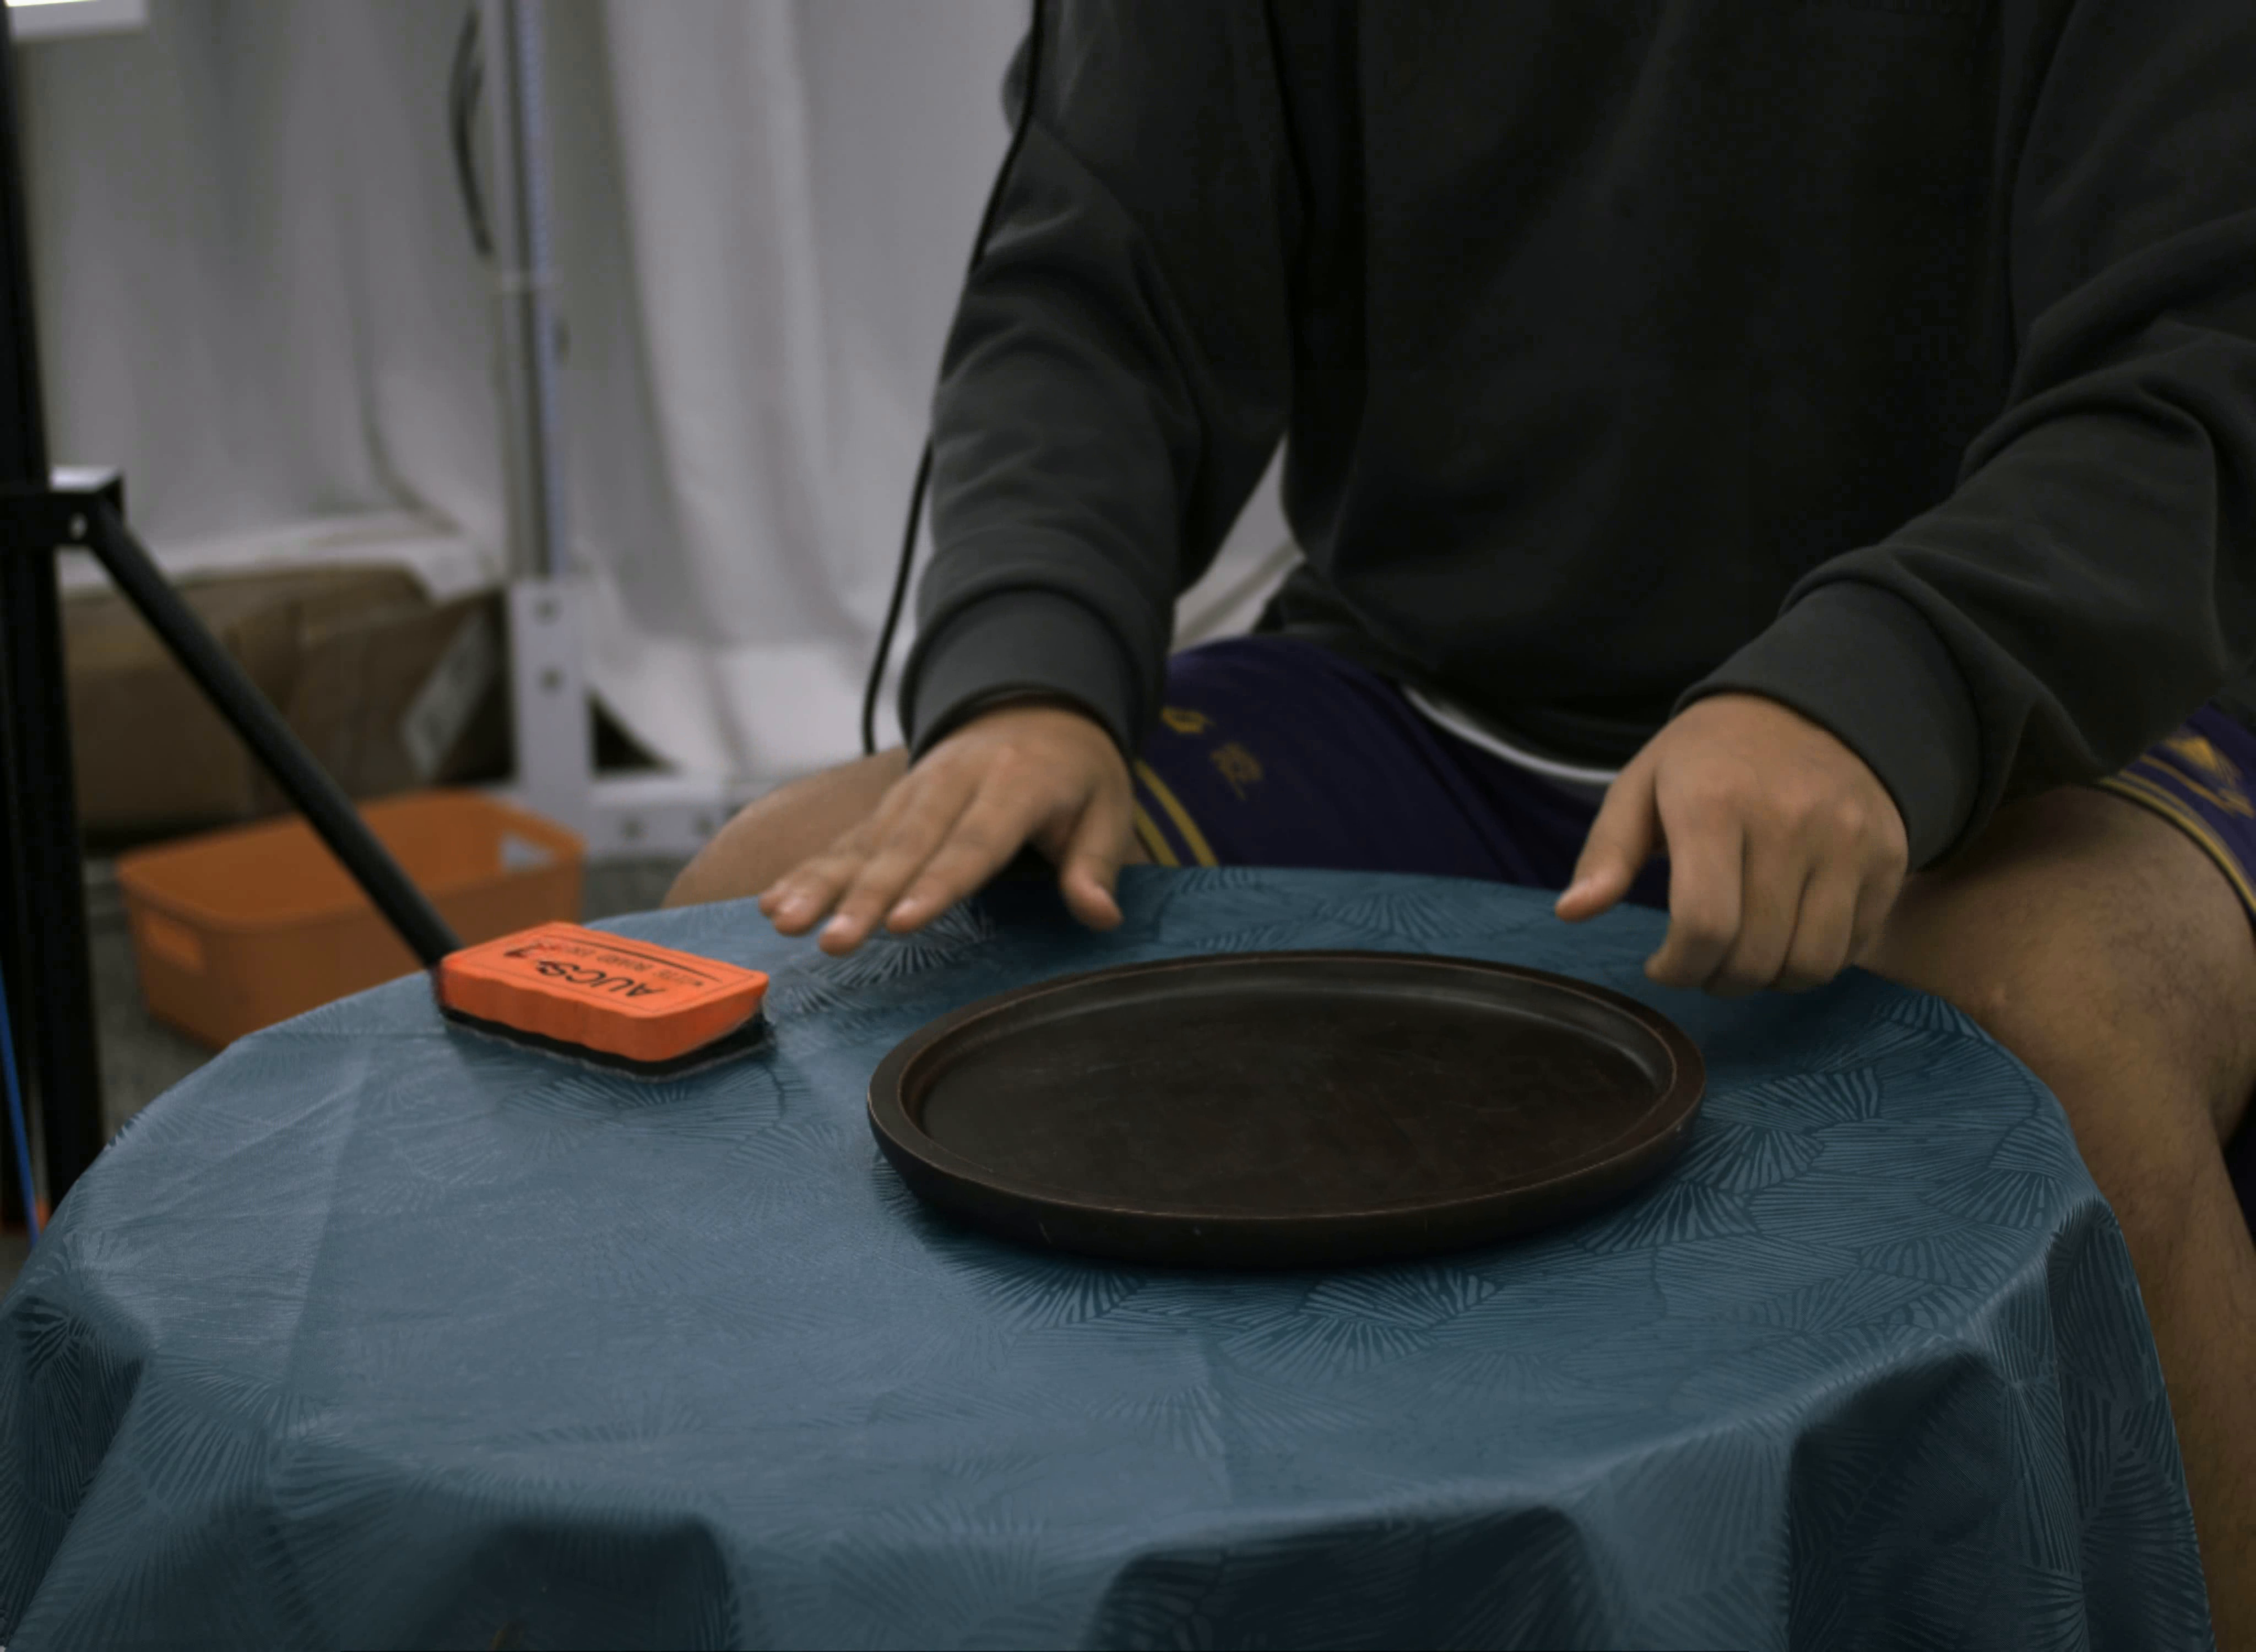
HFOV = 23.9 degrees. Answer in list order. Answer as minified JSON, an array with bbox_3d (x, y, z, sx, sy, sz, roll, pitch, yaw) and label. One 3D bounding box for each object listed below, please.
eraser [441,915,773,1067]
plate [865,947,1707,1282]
[{"bbox_3d":[-0.169,0.053,1.727,0.110,0.023,0.057,11,20,42],"label":"eraser"},{"bbox_3d":[0.047,0.084,1.595,0.253,0.029,0.256,-4,15,0],"label":"plate"}]
